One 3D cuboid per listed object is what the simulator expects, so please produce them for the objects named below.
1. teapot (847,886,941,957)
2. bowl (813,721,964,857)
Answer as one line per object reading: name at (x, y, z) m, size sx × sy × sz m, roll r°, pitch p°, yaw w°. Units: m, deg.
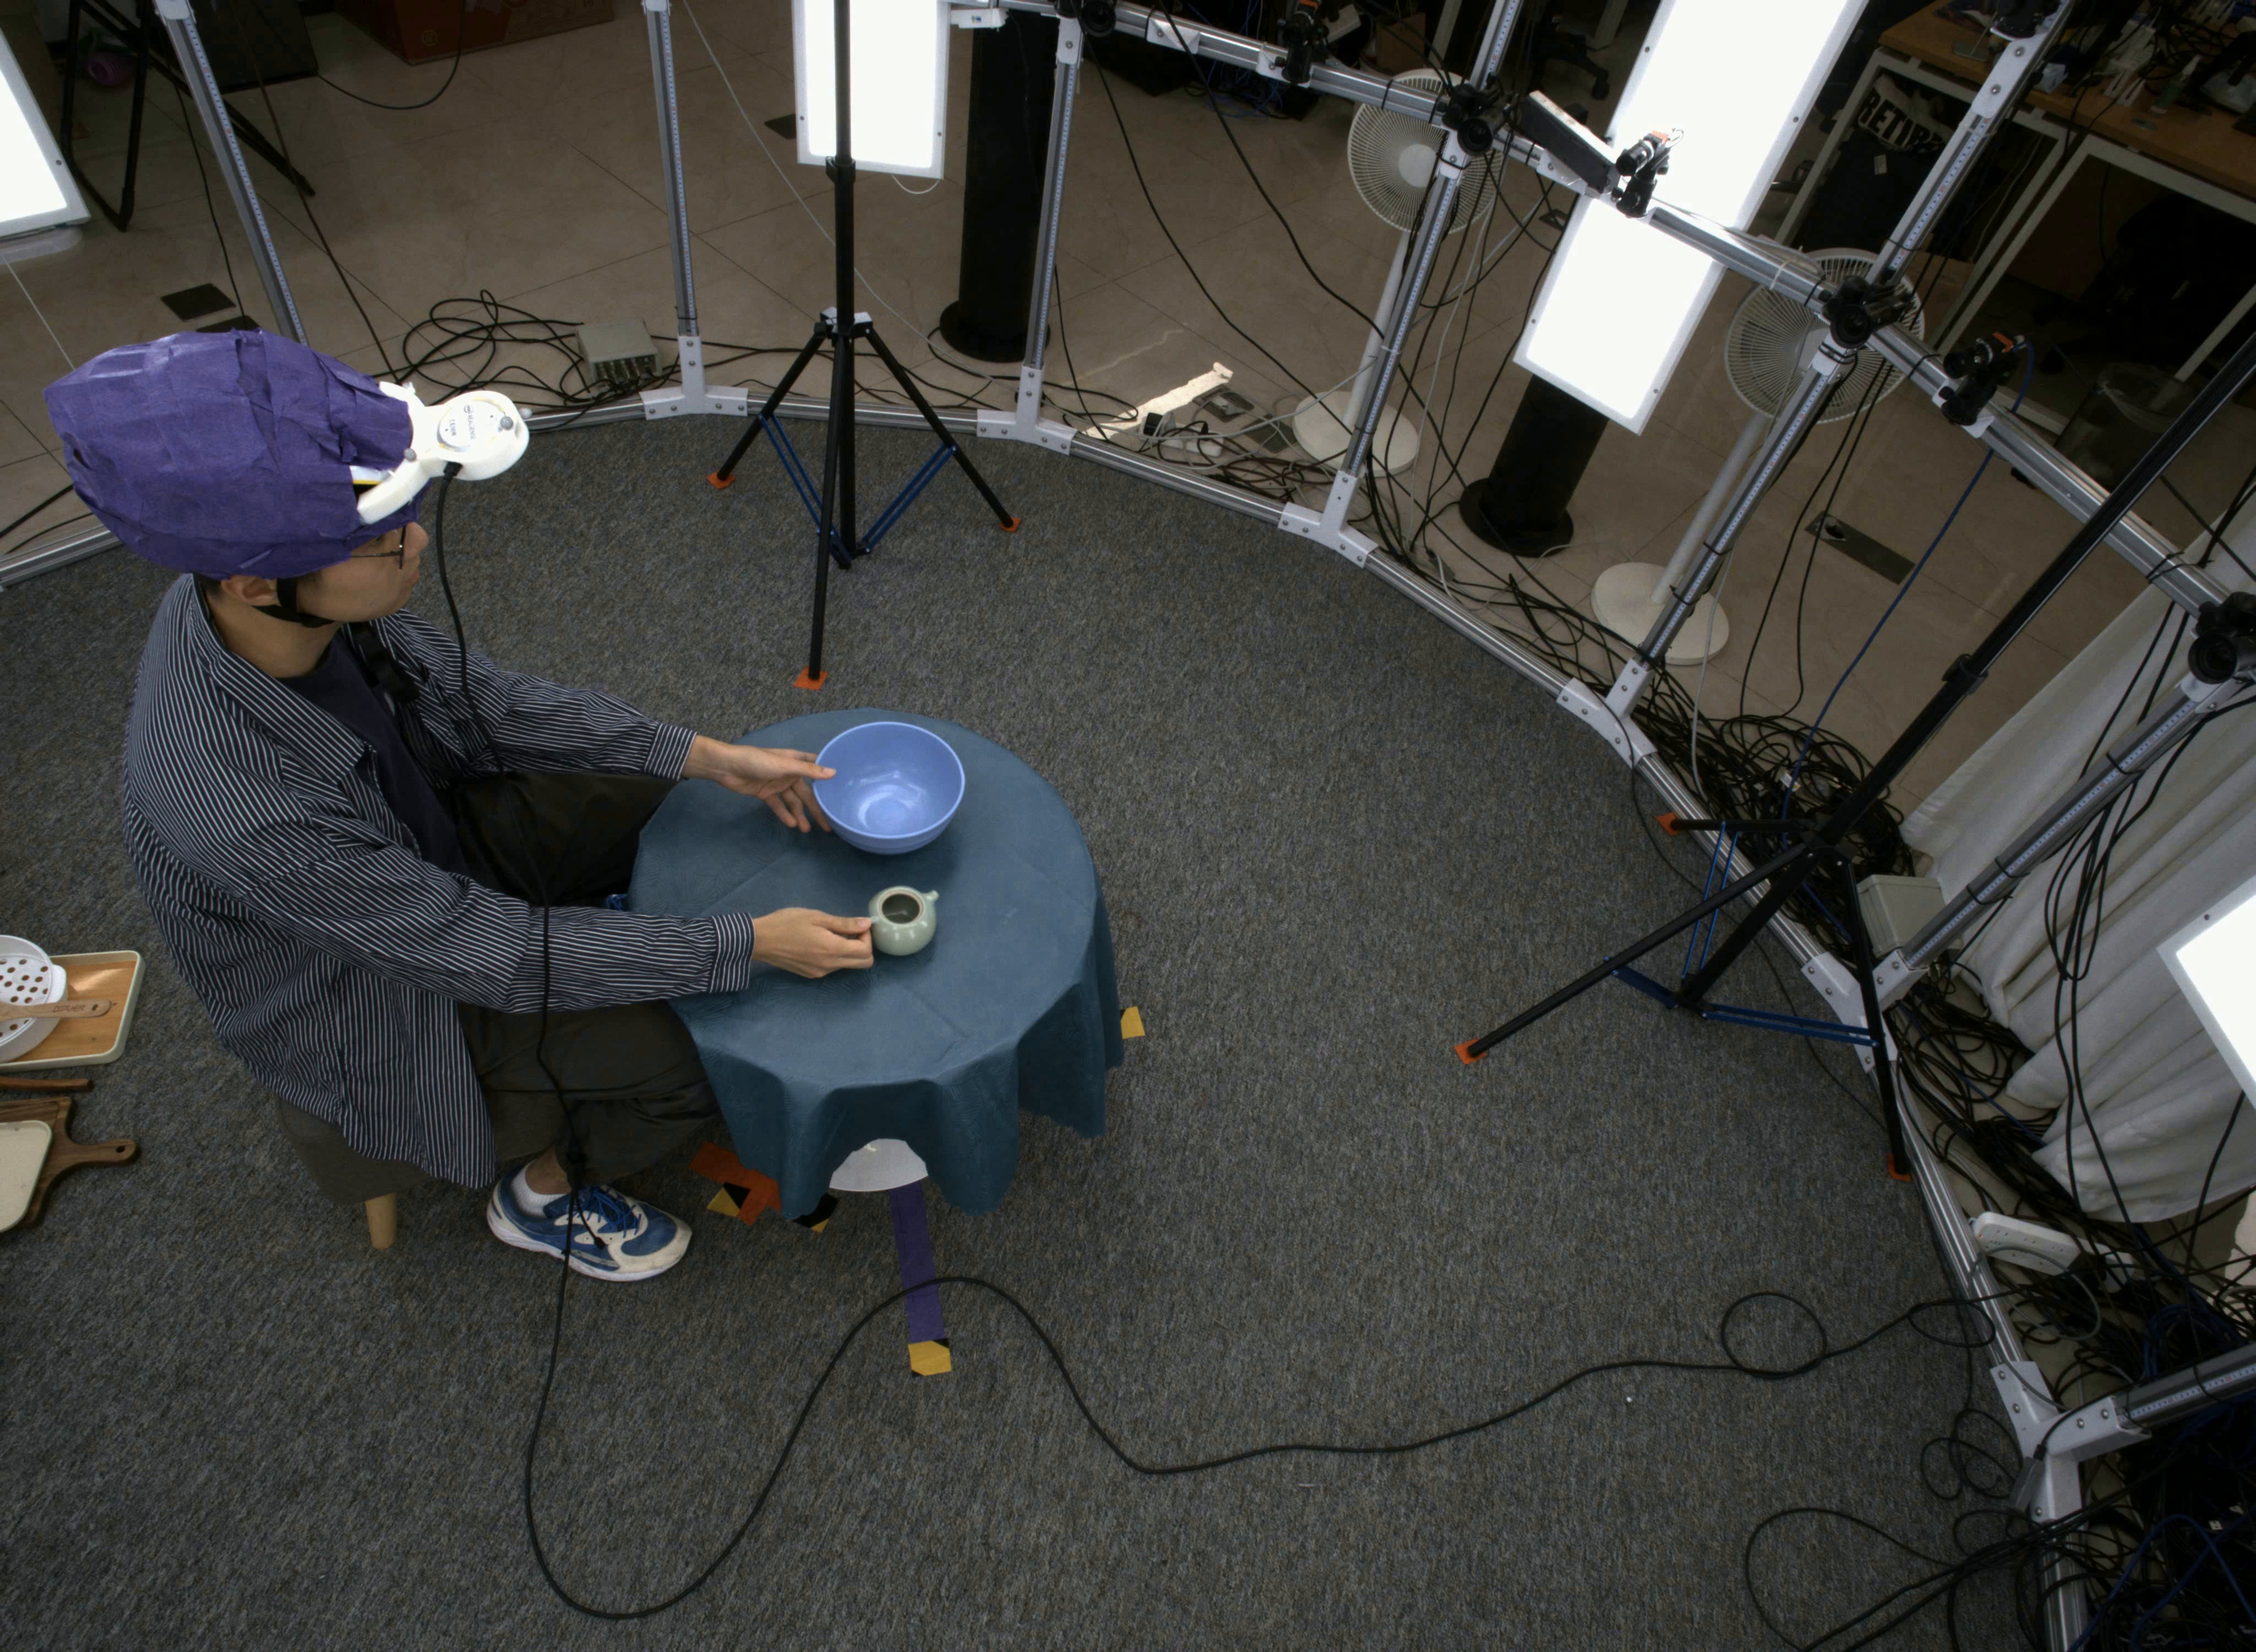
teapot at (-0.295, 0.123, 1.640) m, size 0.129 × 0.062 × 0.089 m, roll -20°, pitch 60°, yaw -29°
bowl at (-0.318, -0.034, 1.732) m, size 0.196 × 0.097 × 0.193 m, roll 7°, pitch 53°, yaw -8°
